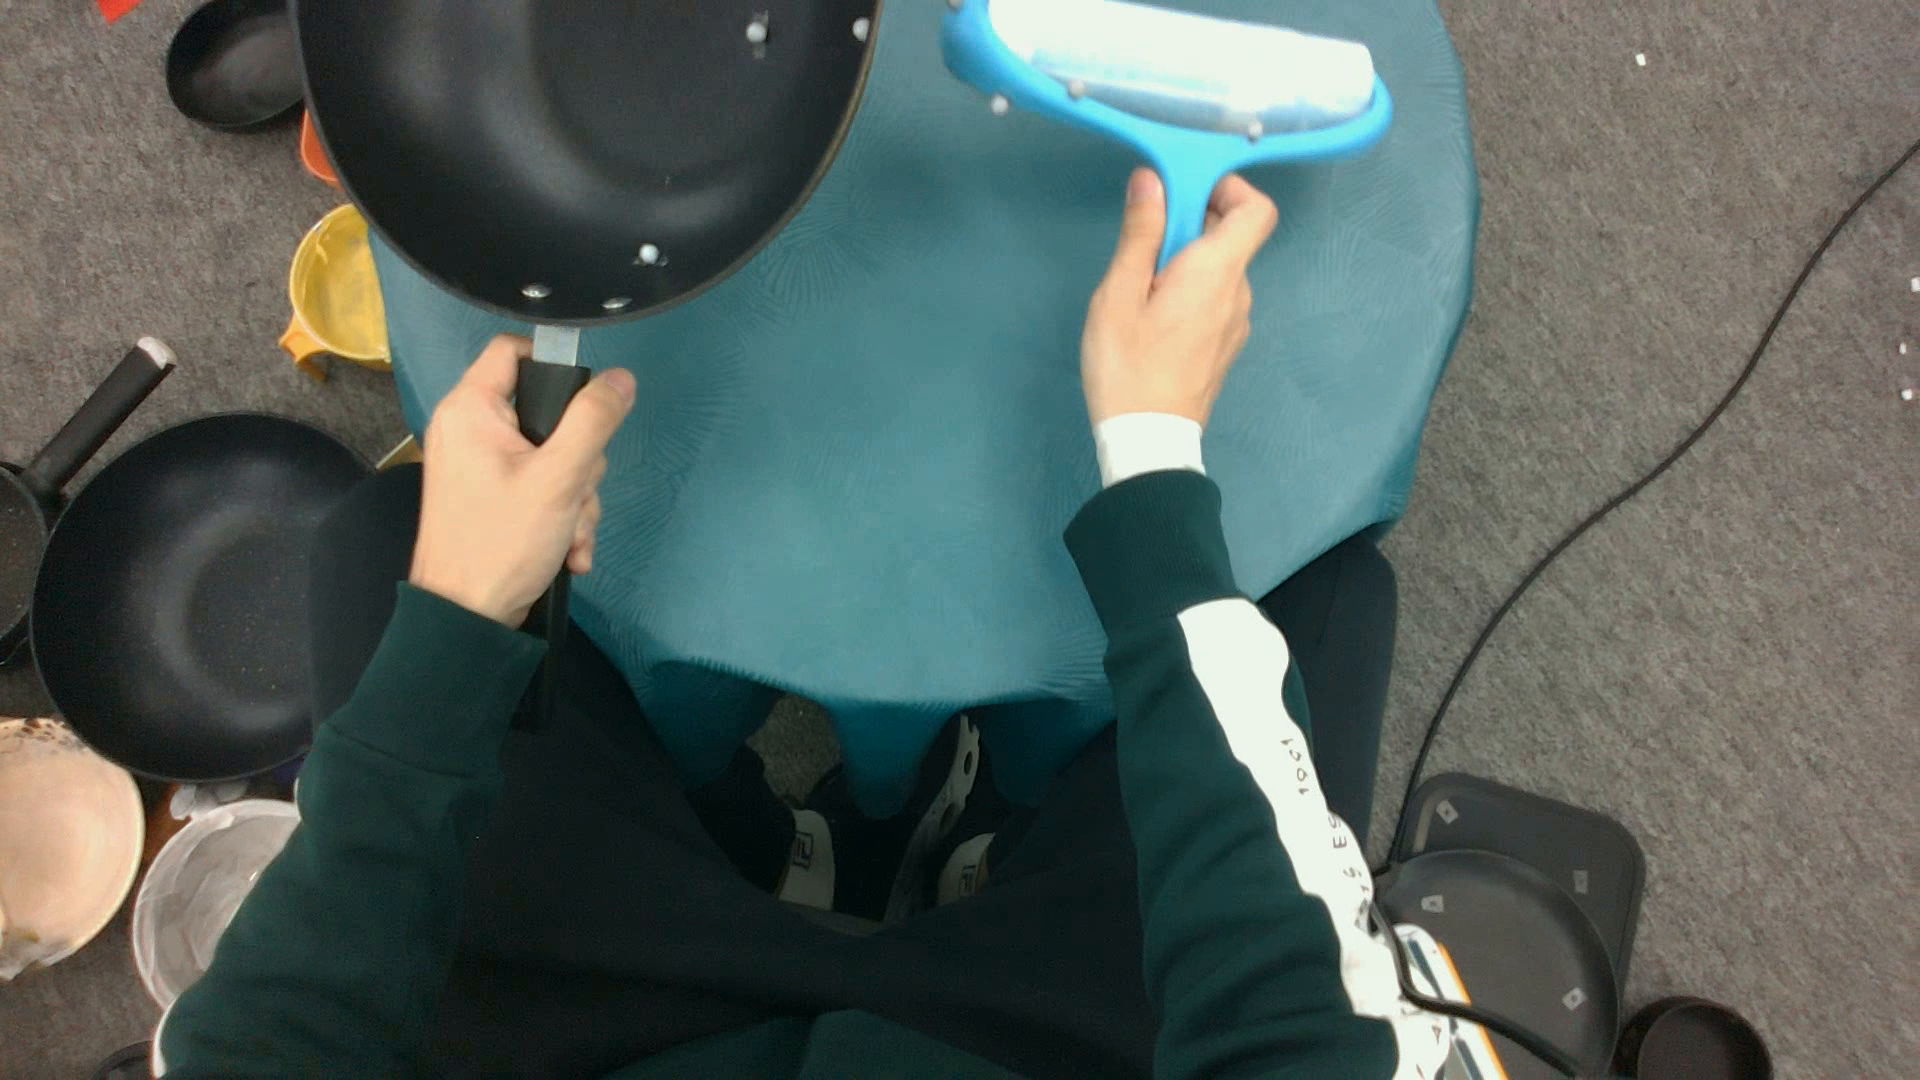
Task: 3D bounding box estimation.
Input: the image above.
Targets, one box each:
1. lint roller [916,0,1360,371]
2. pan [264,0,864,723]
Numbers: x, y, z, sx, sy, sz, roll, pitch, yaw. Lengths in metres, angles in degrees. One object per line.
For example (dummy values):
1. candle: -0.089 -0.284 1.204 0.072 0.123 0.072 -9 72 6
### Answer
1. lint roller: 0.093 -0.178 0.674 0.229 0.067 0.180 1 77 -15
2. pan: -0.172 -0.146 0.621 0.288 0.087 0.462 9 102 16
